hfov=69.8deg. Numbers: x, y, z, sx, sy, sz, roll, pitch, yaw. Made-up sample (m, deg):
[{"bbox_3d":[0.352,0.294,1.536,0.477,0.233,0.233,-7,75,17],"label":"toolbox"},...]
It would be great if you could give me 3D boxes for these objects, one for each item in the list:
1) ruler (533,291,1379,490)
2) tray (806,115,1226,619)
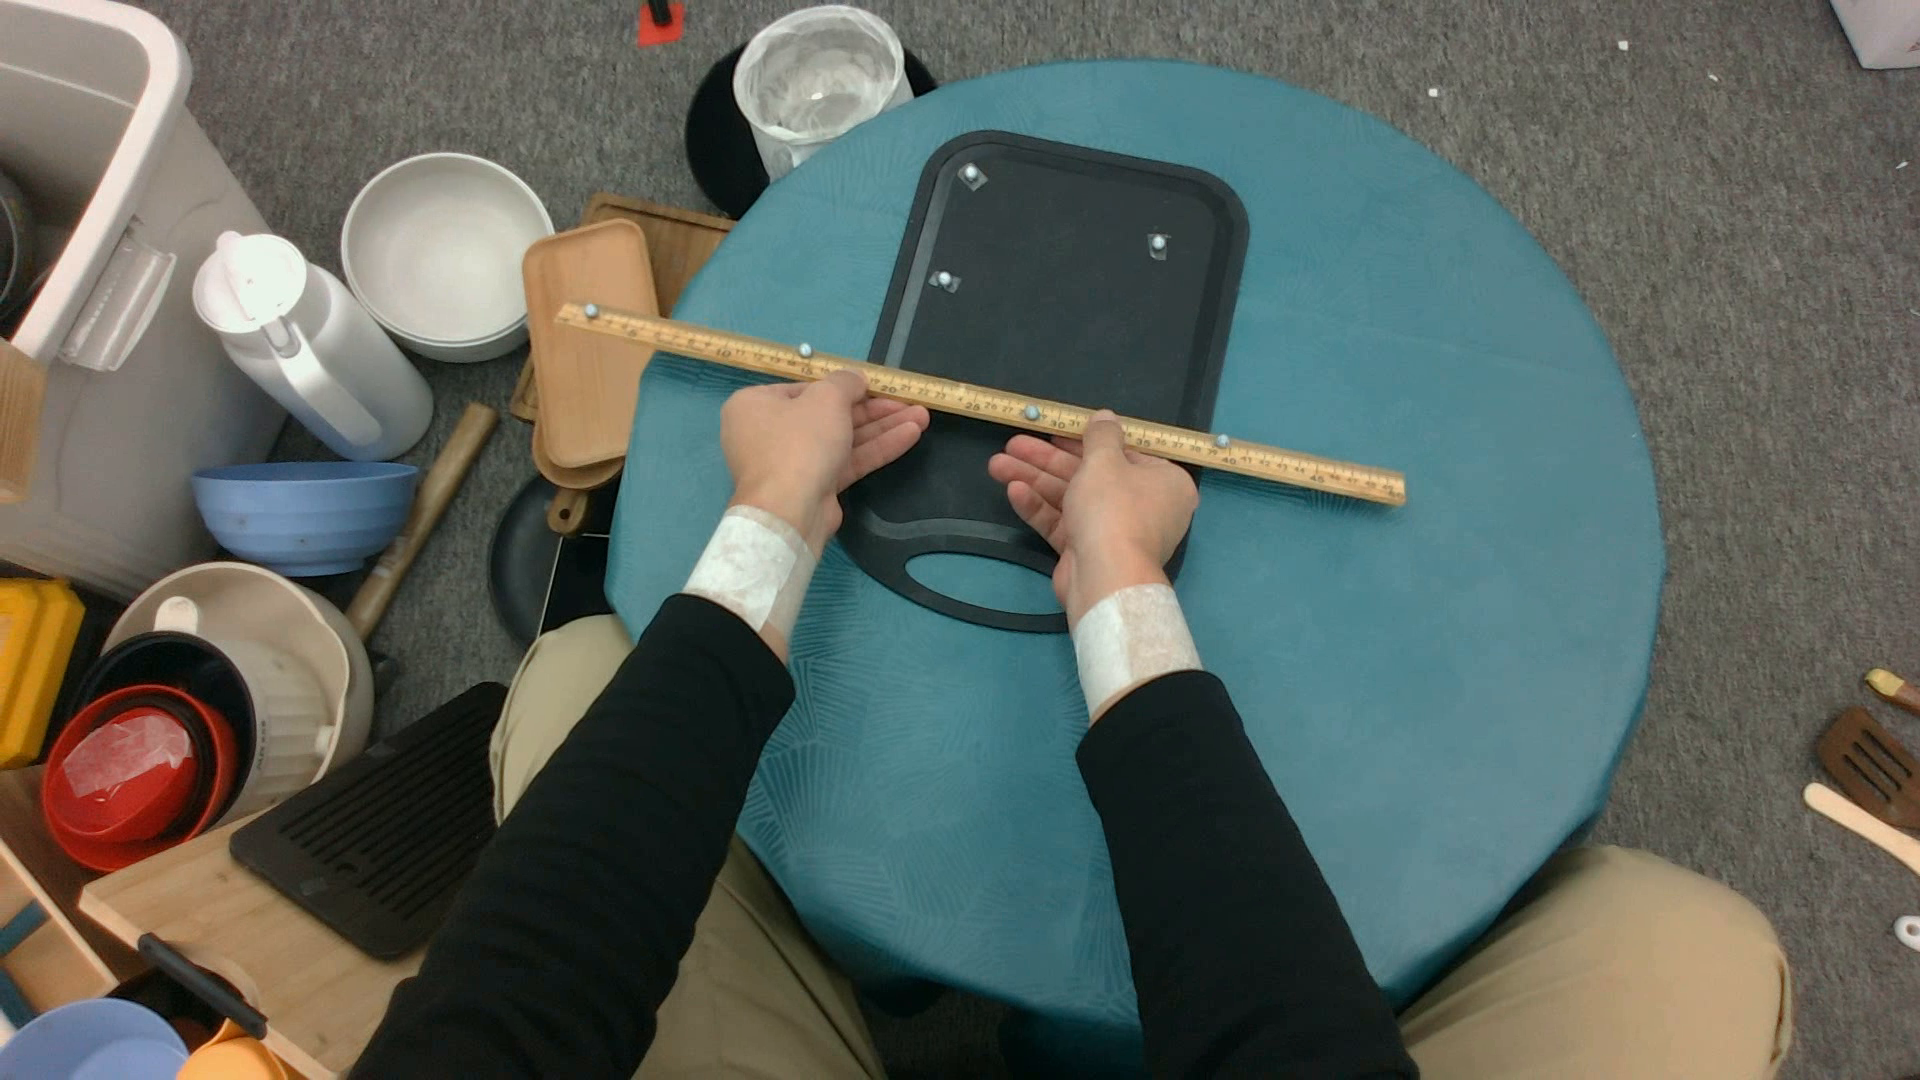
[{"bbox_3d":[-0.006,-0.088,0.800,0.500,0.006,0.027,12,43,4],"label":"ruler"},{"bbox_3d":[0.037,-0.110,0.821,0.211,0.010,0.326,12,70,4],"label":"tray"}]
